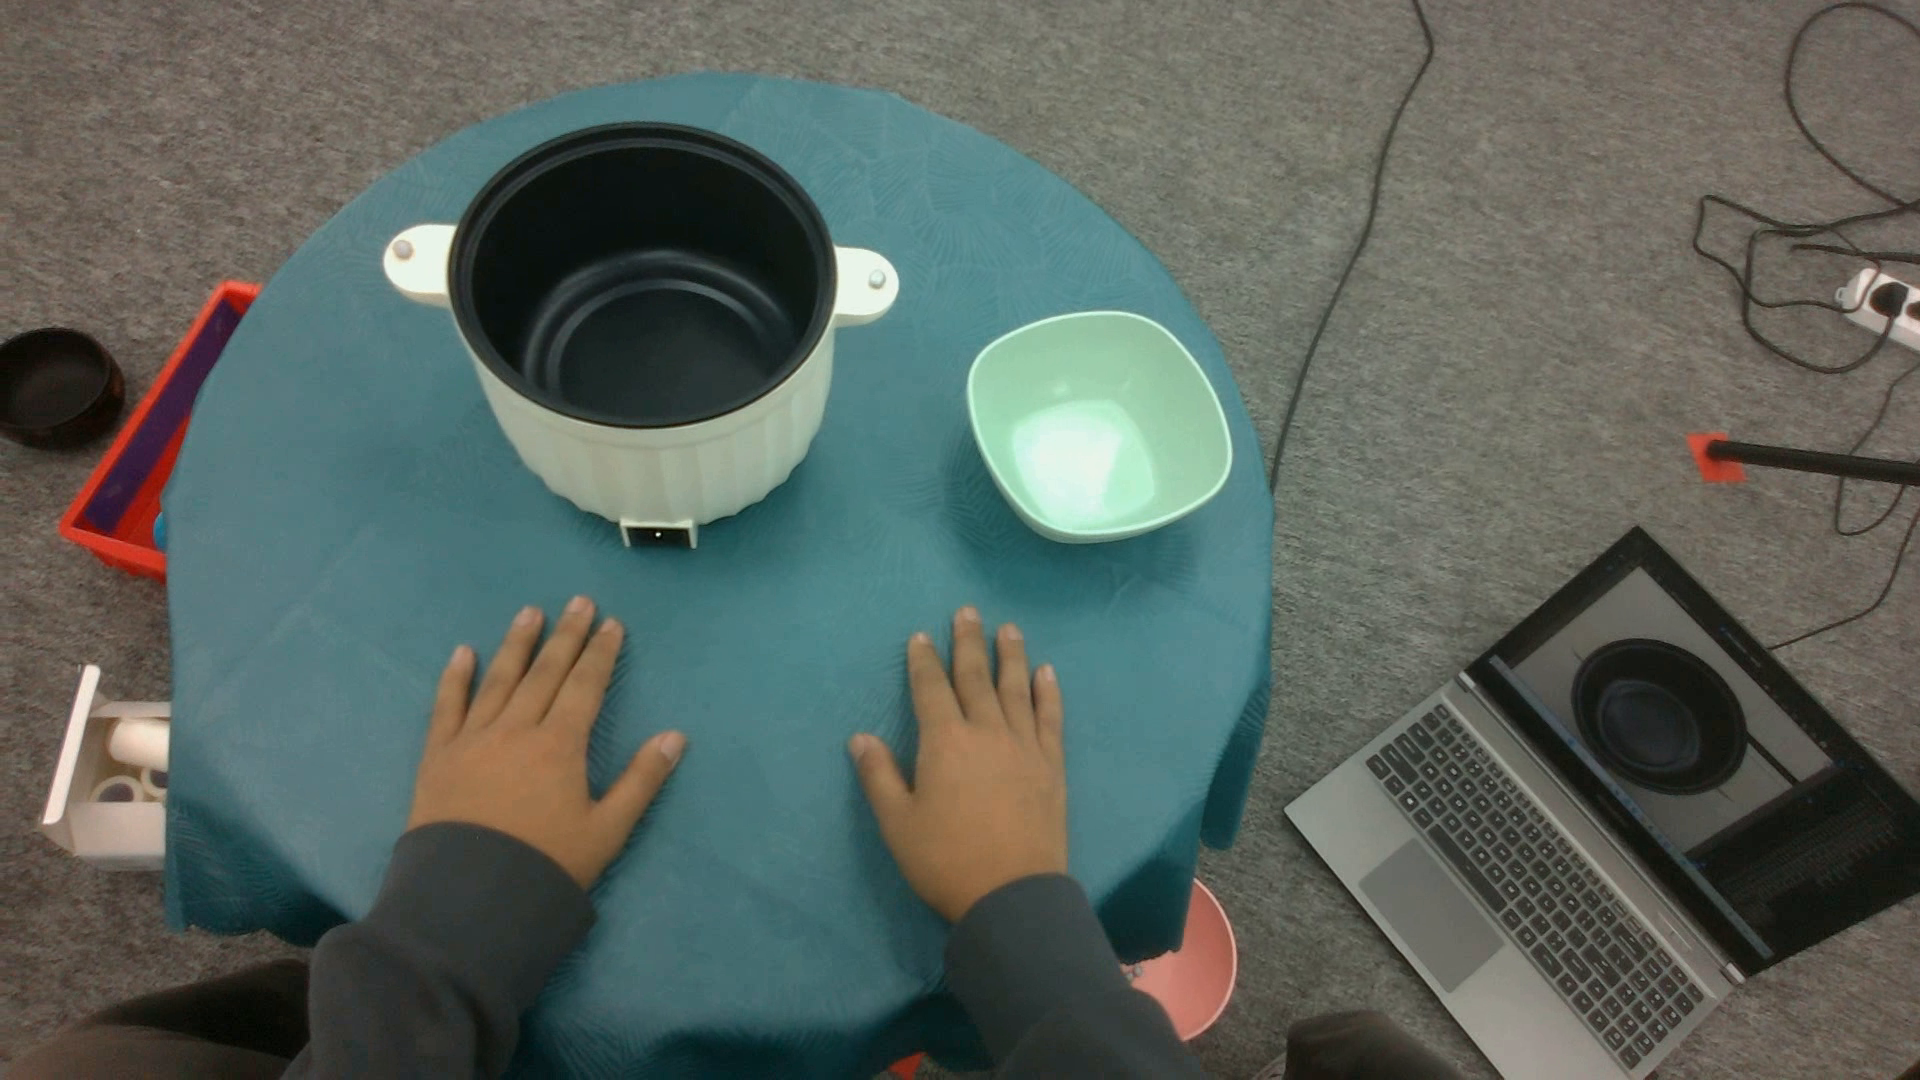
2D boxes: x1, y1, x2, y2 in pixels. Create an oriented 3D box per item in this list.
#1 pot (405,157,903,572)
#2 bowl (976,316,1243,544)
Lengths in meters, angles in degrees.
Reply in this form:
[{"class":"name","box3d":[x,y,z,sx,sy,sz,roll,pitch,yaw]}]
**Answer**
[{"class":"pot","box3d":[-0.155,-0.094,0.734,0.240,0.142,0.191,-2,66,-8]},{"class":"bowl","box3d":[0.080,-0.053,0.779,0.151,0.058,0.152,2,60,-3]}]
